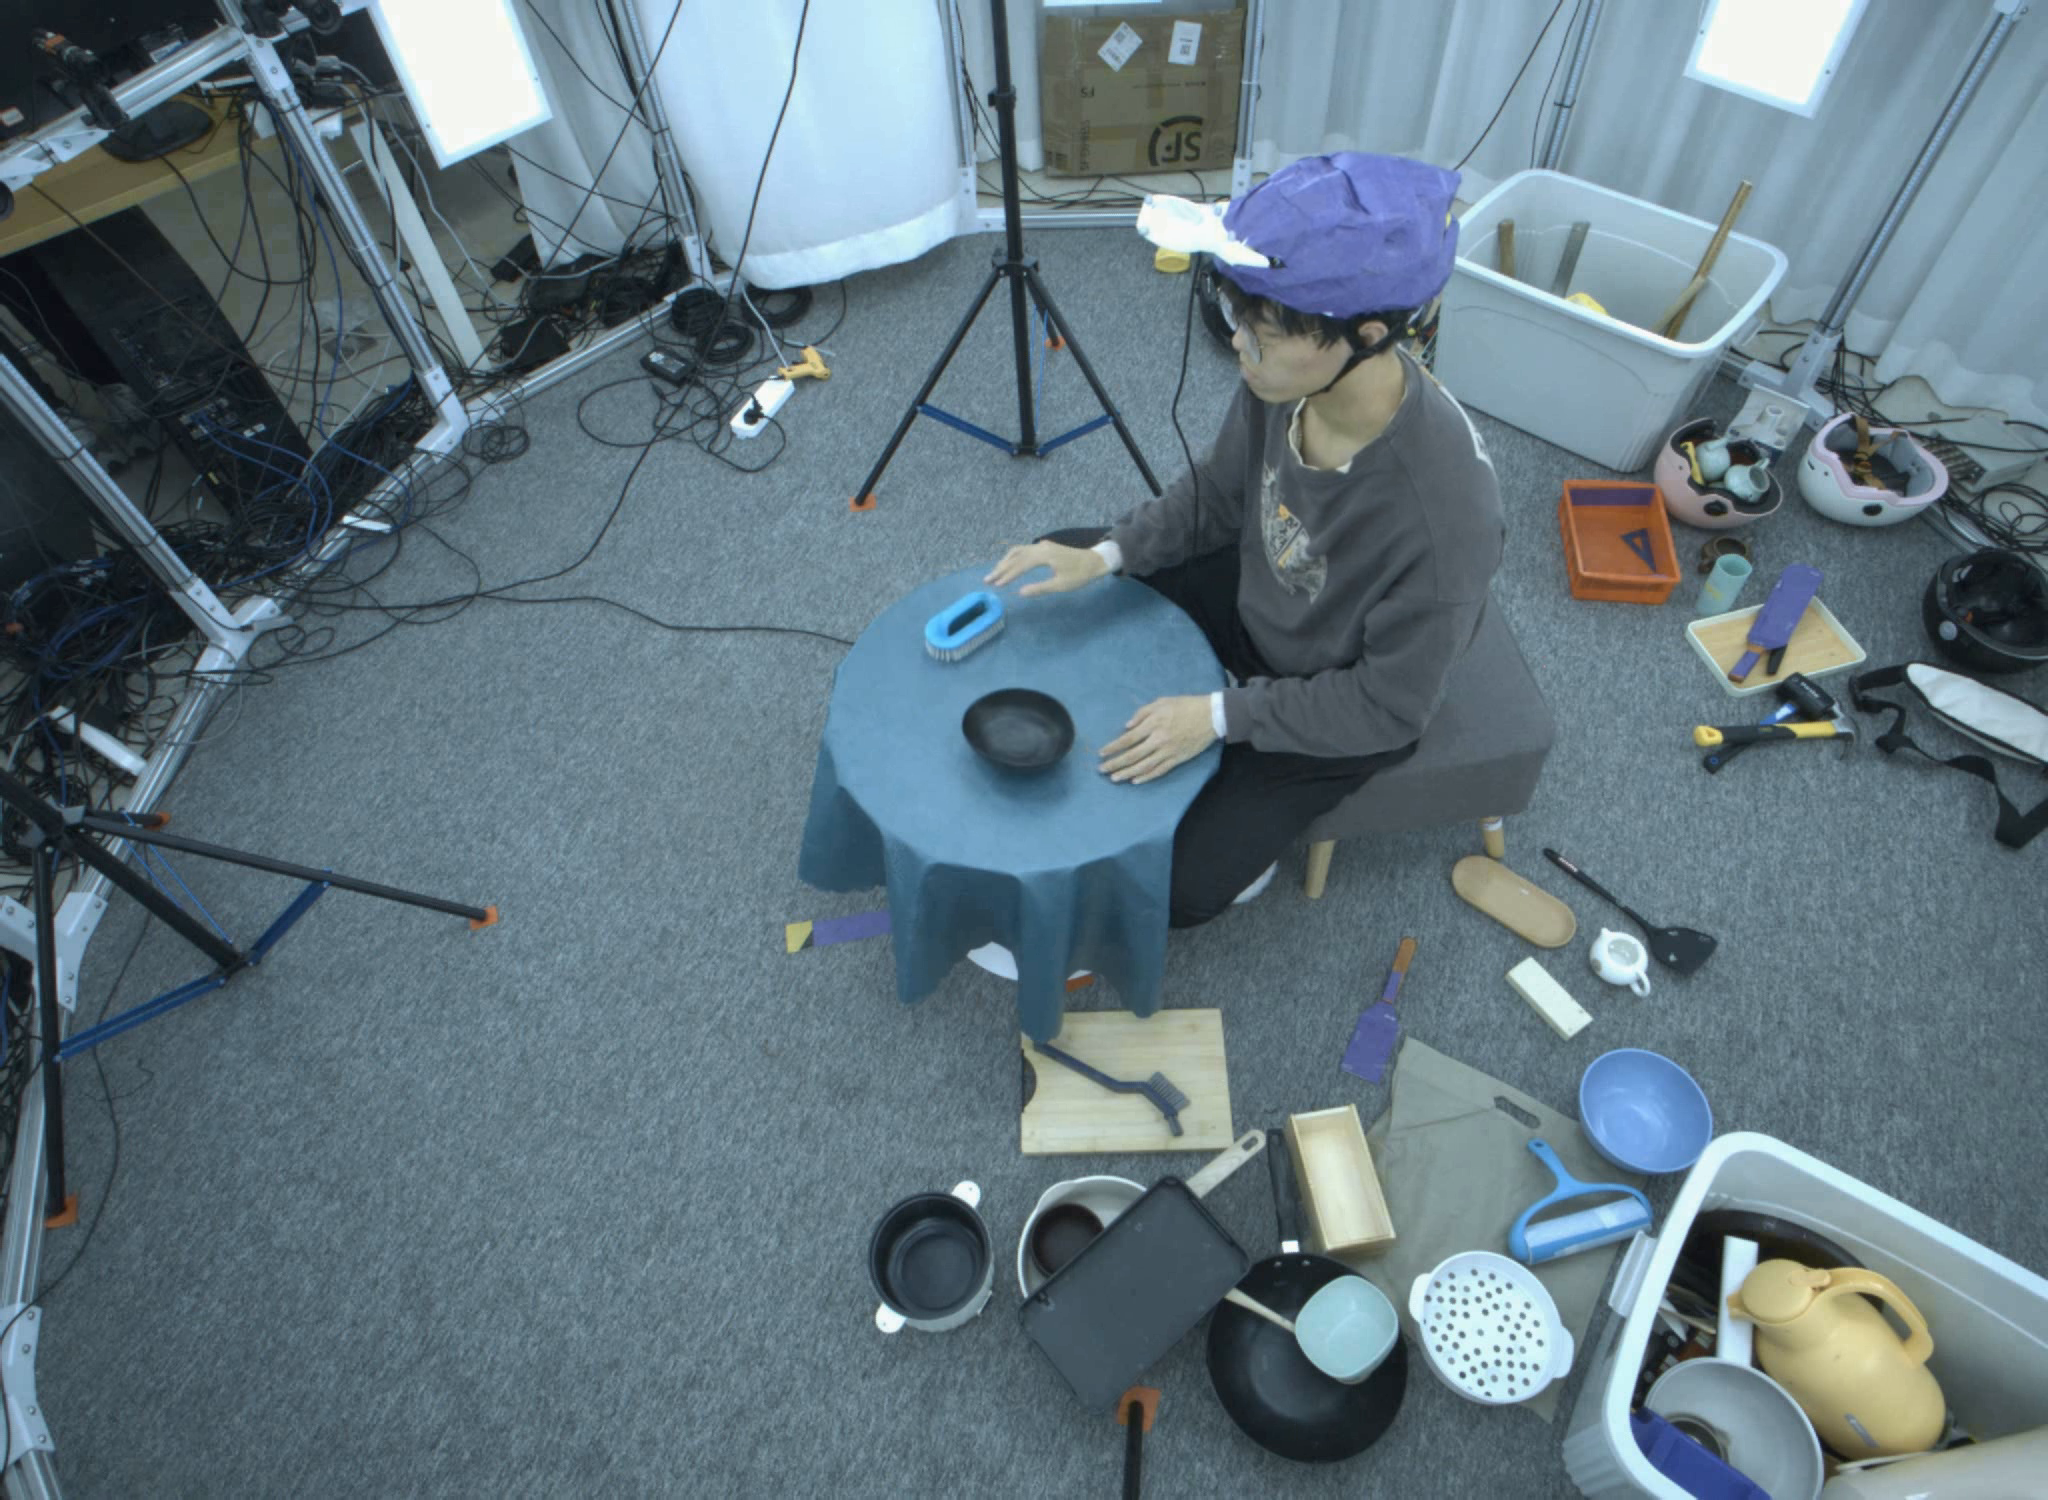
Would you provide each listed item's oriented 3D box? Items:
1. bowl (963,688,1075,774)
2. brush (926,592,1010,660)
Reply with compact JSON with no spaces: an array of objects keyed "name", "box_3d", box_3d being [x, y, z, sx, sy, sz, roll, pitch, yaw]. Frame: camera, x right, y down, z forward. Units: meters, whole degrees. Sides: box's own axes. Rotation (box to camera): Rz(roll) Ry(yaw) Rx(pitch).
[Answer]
[{"name":"bowl","box_3d":[-0.008,-0.017,1.758,0.168,0.067,0.137,19,57,17]},{"name":"brush","box_3d":[-0.091,-0.203,1.893,0.143,0.064,0.082,-35,55,-22]}]
